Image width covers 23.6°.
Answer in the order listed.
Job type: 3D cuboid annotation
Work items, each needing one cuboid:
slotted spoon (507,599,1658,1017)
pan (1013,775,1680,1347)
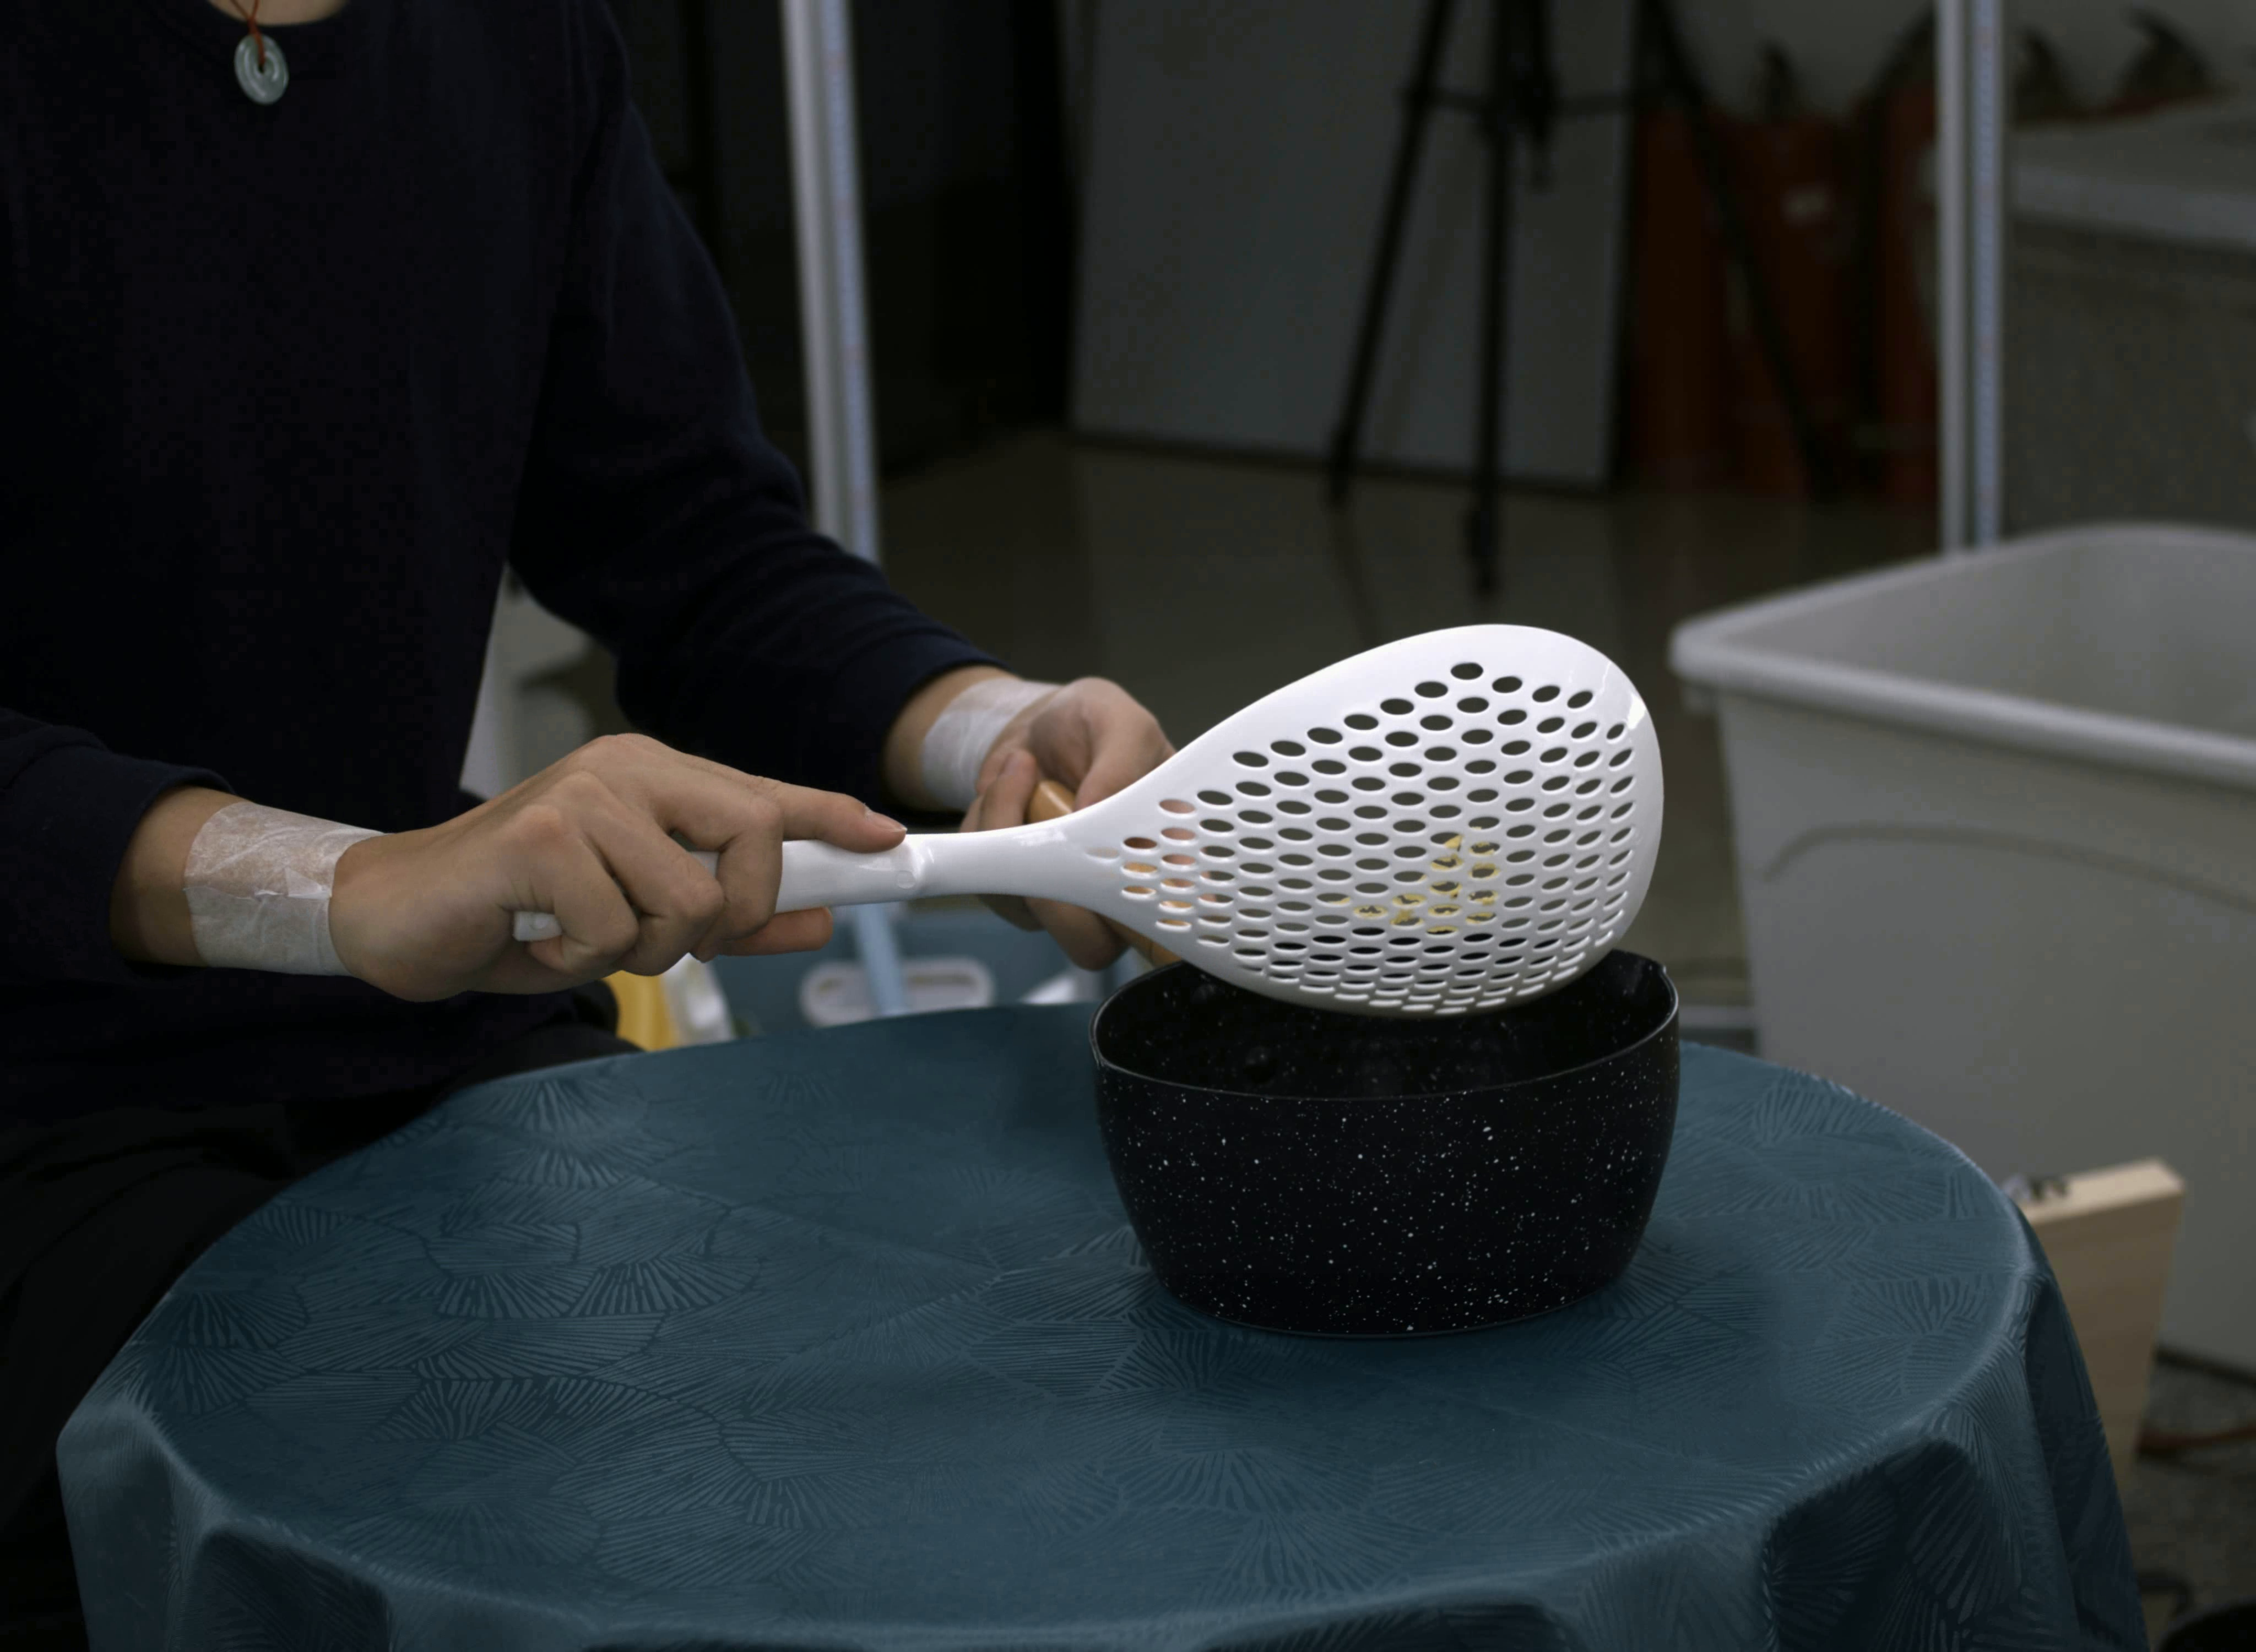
[{"bbox_3d":[-0.009,0.008,1.571,0.342,0.138,0.050,-2,28,-6],"label":"slotted spoon"},{"bbox_3d":[0.044,0.070,1.740,0.203,0.109,0.346,-12,17,-25],"label":"pan"}]
